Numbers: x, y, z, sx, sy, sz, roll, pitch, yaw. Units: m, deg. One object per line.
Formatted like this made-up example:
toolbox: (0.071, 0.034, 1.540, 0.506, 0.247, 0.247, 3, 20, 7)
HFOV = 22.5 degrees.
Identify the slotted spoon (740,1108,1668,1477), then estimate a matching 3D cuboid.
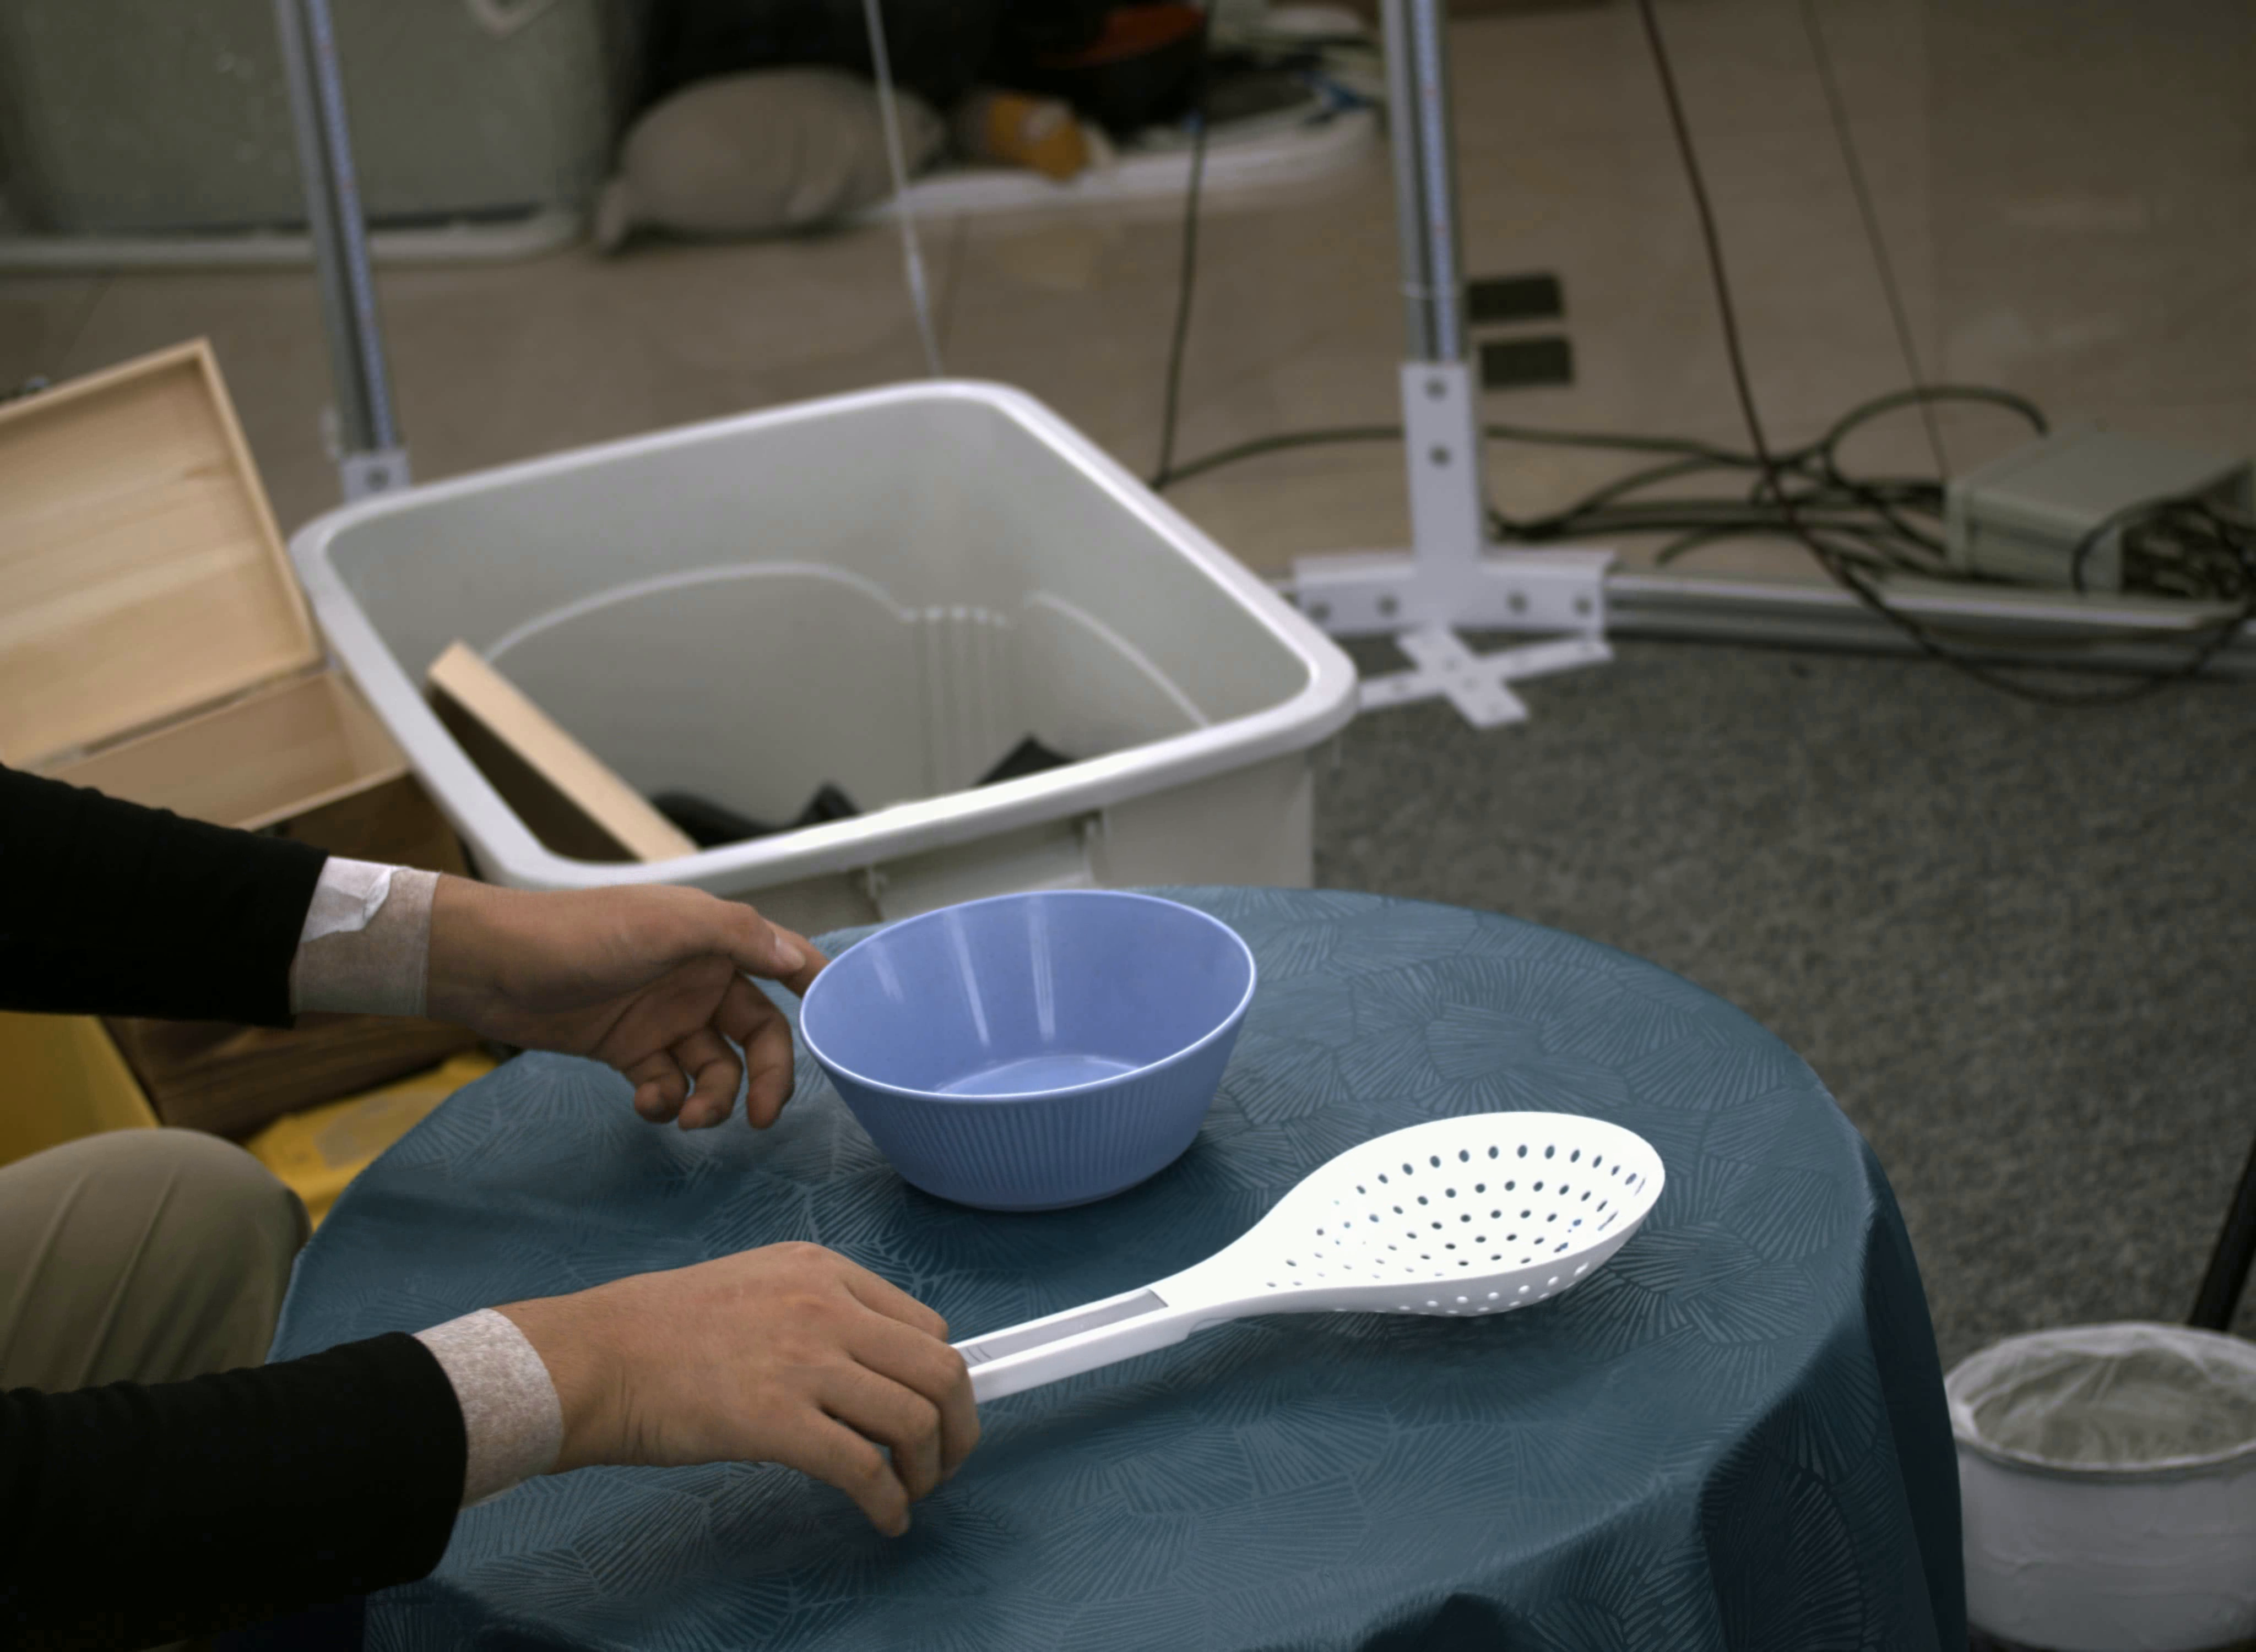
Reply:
slotted spoon: (0.029, 0.168, 2.007, 0.348, 0.046, 0.134, -12, 21, -19)

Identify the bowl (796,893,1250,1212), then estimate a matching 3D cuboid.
bowl: (-0.037, 0.093, 2.174, 0.176, 0.071, 0.173, -6, 26, 3)
